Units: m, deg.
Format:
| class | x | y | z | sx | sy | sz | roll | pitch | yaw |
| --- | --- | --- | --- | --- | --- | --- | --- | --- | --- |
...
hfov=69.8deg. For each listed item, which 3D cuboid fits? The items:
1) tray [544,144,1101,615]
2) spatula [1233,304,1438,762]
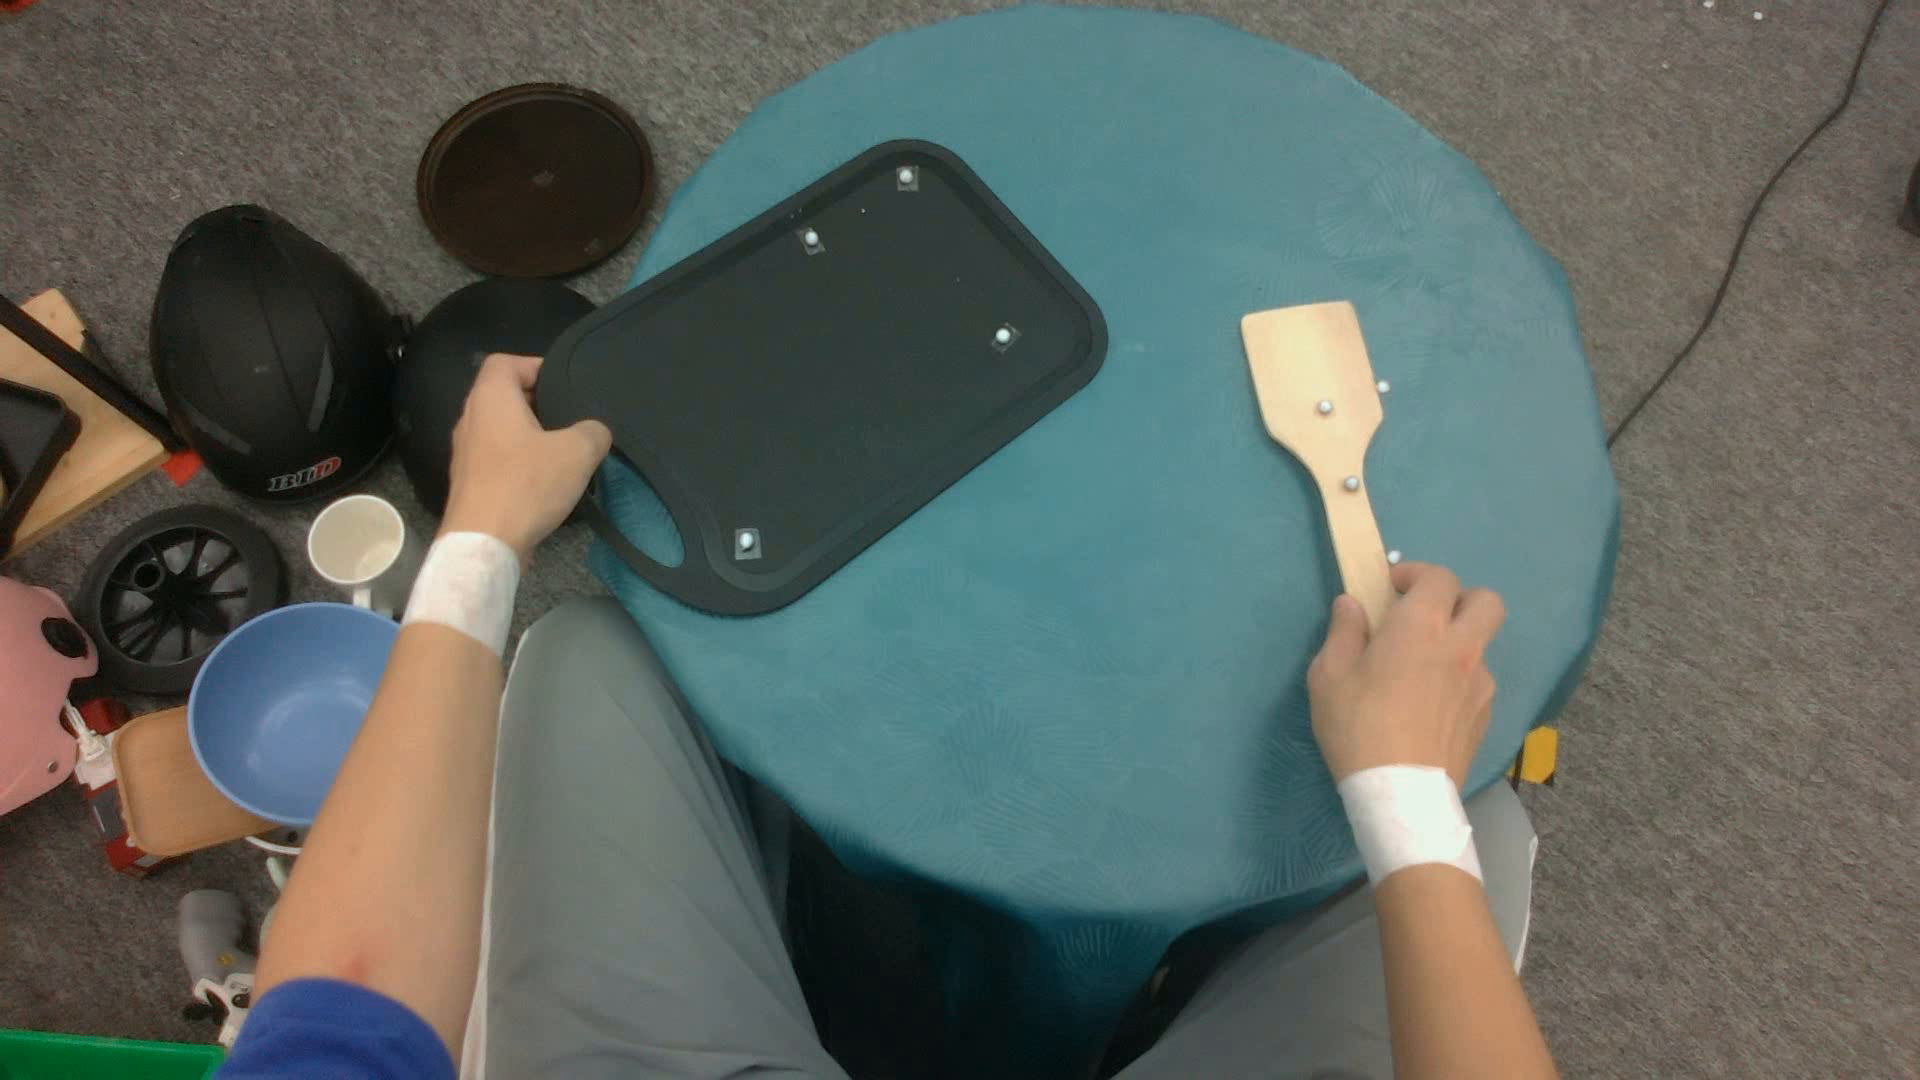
| class | x | y | z | sx | sy | sz | roll | pitch | yaw |
| --- | --- | --- | --- | --- | --- | --- | --- | --- | --- |
| tray | -0.084 | -0.102 | 0.825 | 0.326 | 0.010 | 0.211 | -37 | 77 | -16 |
| spatula | 0.223 | -0.013 | 0.793 | 0.072 | 0.010 | 0.294 | -8 | 63 | 0 |
